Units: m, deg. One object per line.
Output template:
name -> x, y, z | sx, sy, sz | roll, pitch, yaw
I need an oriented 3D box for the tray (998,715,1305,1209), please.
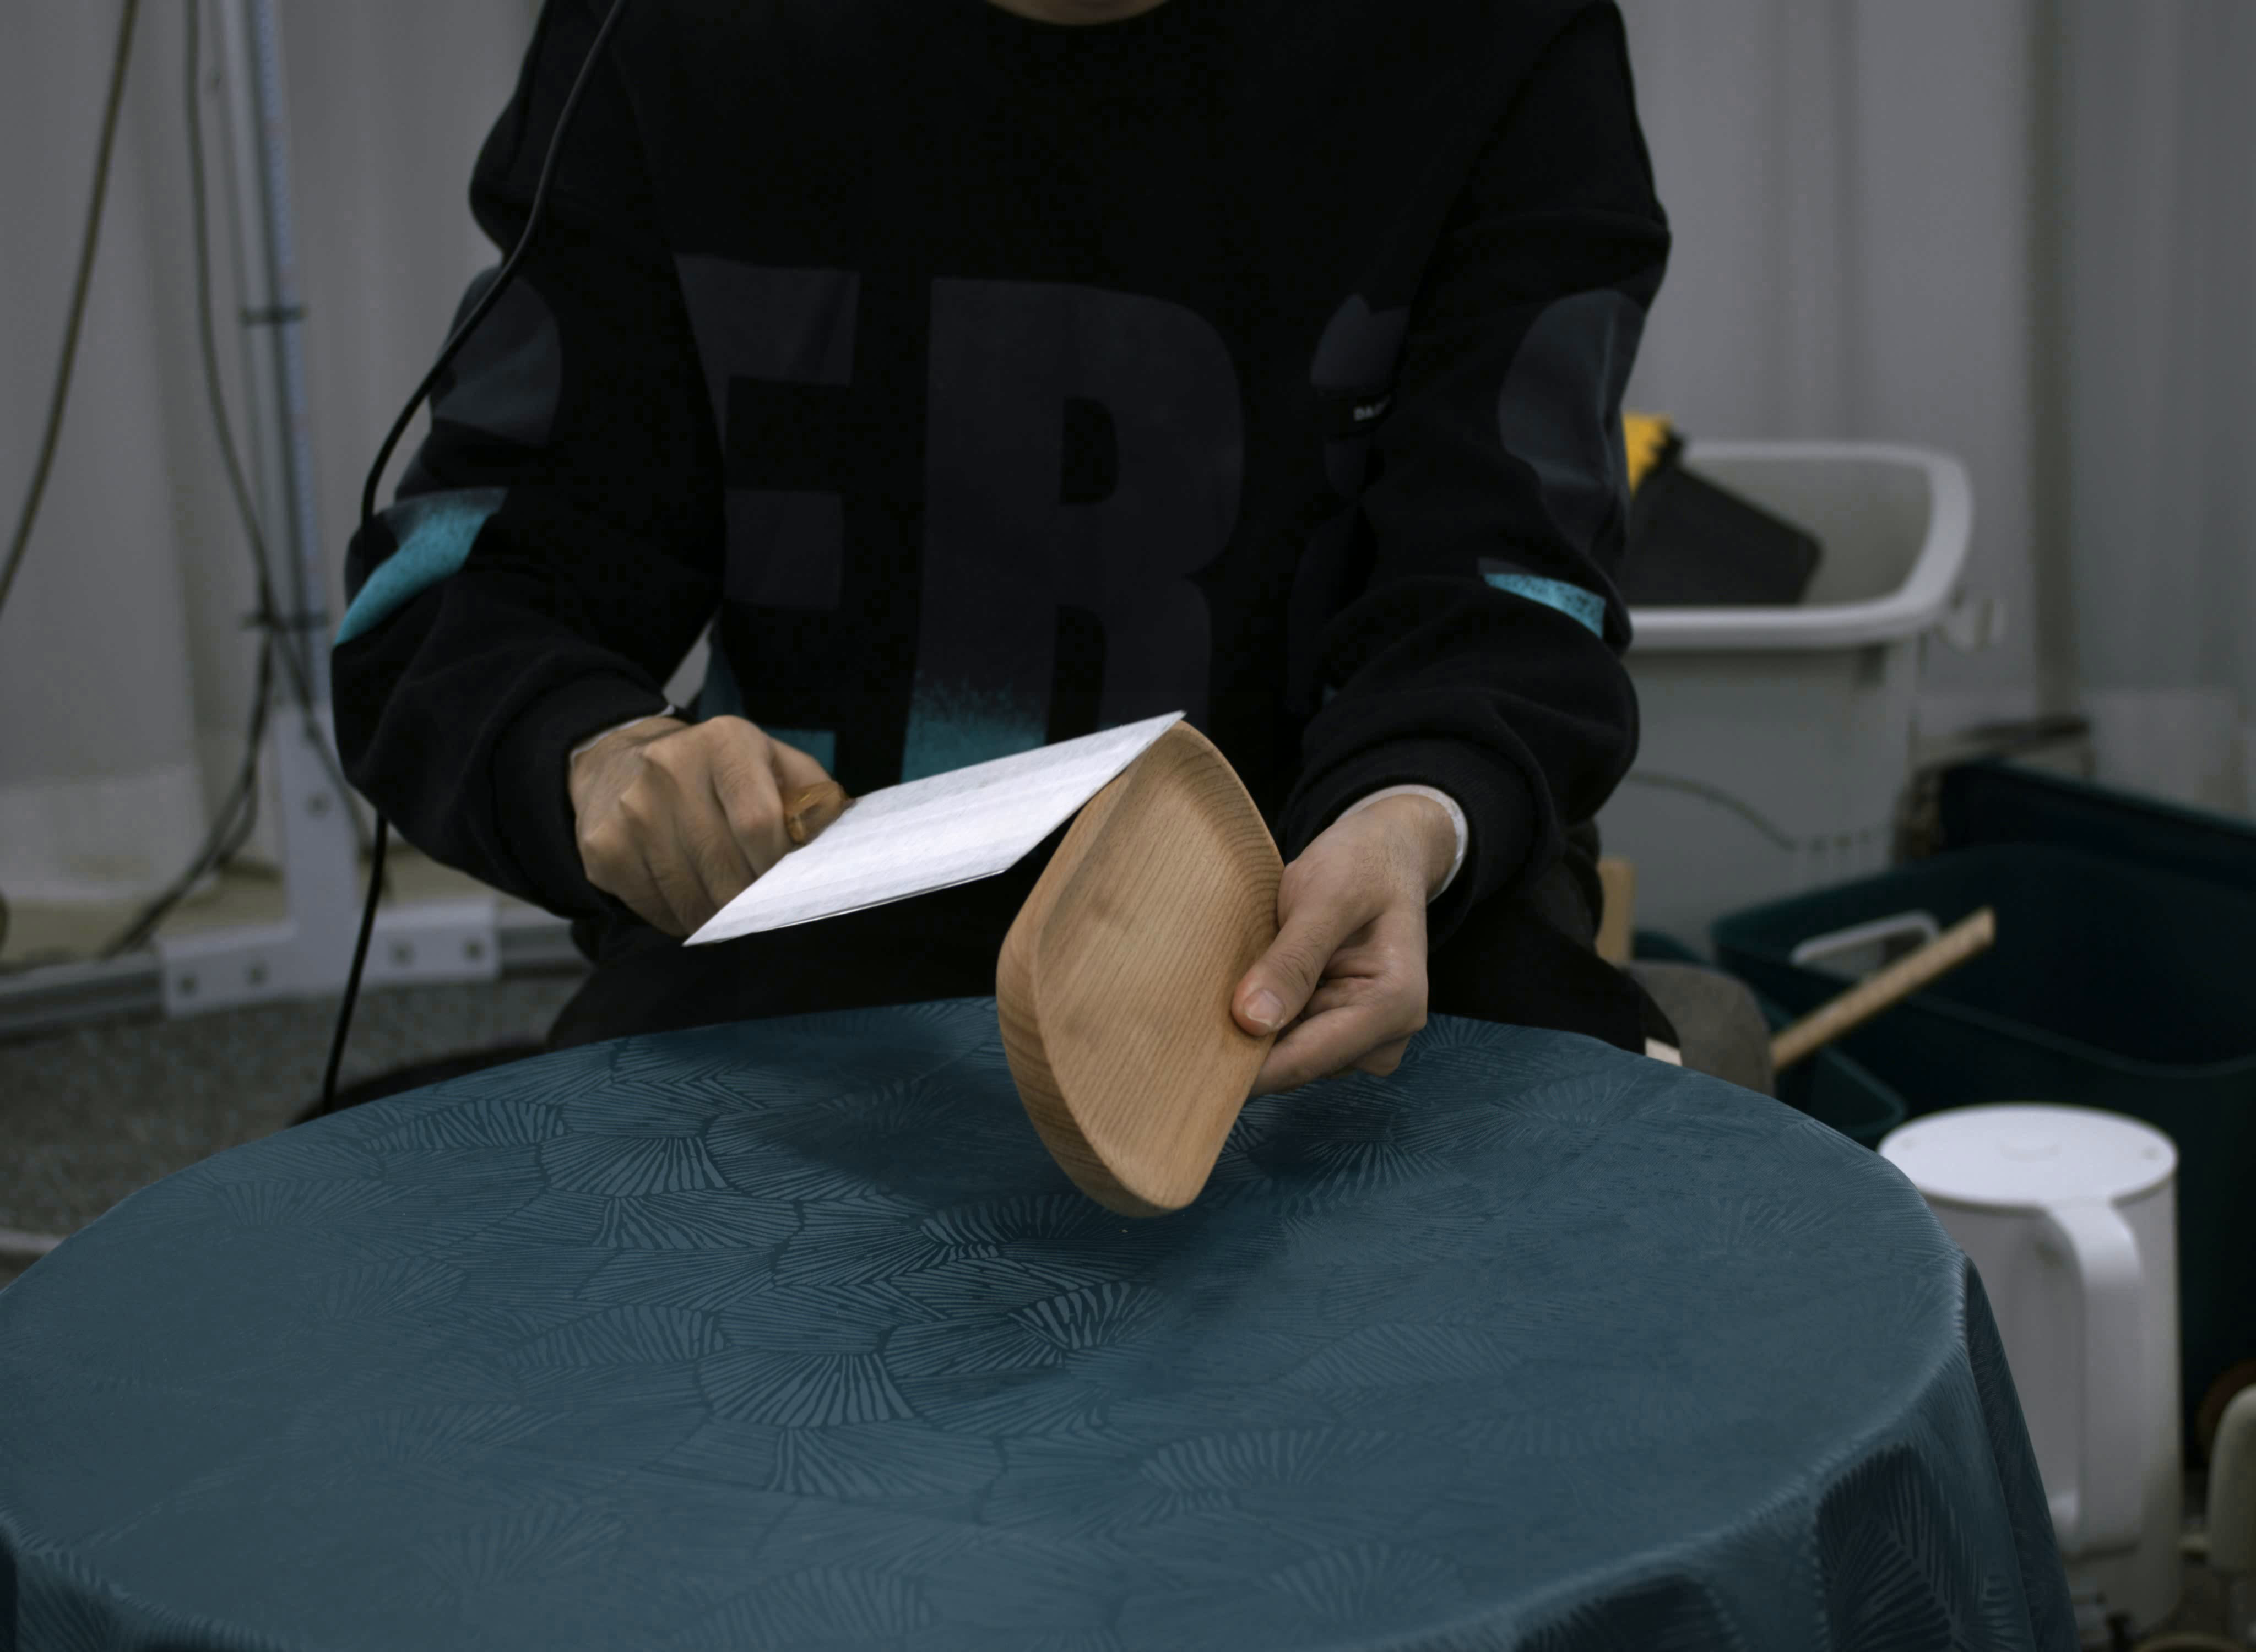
tray -> 0.009, 0.040, 1.674 | 0.020, 0.101, 0.233 | -23, 15, 21

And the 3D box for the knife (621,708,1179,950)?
knife -> -0.096, 0.008, 1.802 | 0.093, 0.021, 0.305 | -42, 17, -33
